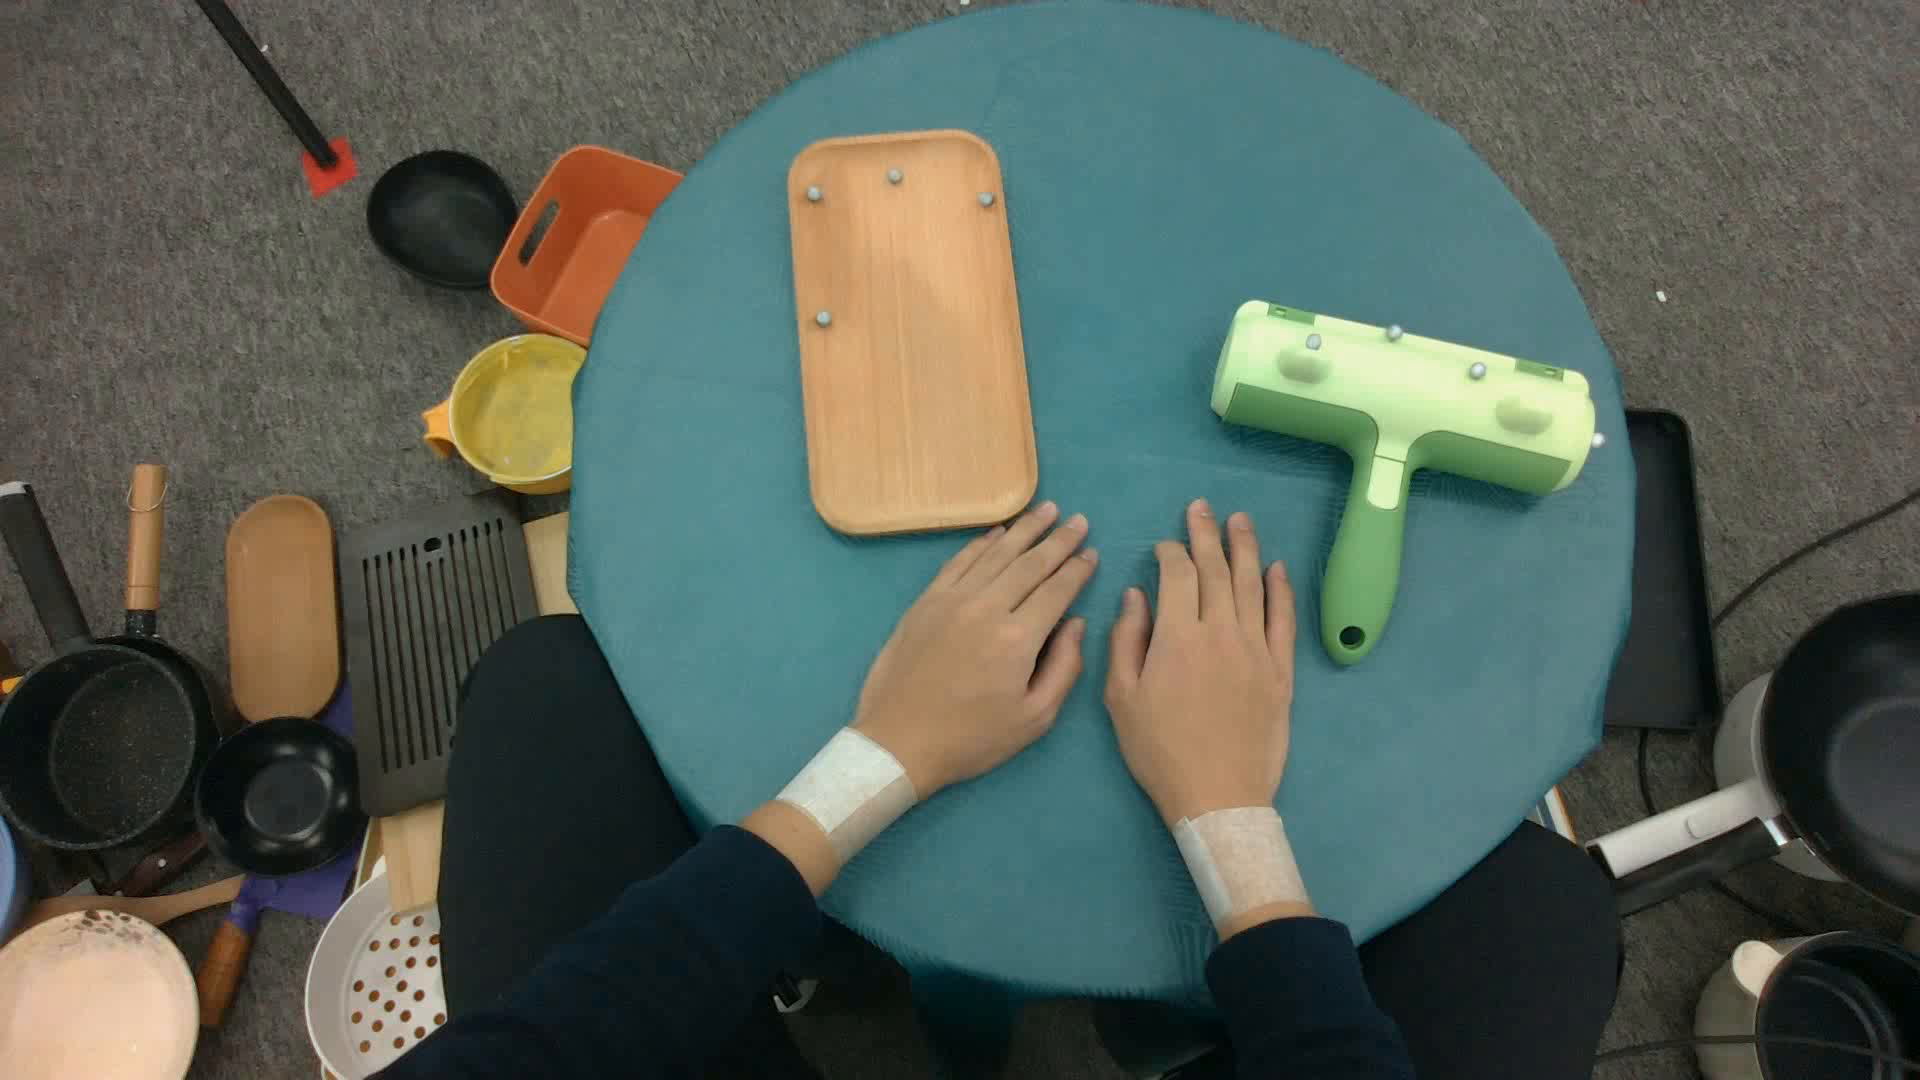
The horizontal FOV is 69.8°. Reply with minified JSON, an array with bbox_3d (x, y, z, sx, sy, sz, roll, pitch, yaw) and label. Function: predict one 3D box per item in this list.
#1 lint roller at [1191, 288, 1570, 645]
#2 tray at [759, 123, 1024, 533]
[{"bbox_3d":[0.218,-0.040,0.728,0.198,0.082,0.184,12,66,4],"label":"lint roller"},{"bbox_3d":[-0.041,-0.126,0.788,0.130,0.023,0.251,-7,73,-1],"label":"tray"}]
